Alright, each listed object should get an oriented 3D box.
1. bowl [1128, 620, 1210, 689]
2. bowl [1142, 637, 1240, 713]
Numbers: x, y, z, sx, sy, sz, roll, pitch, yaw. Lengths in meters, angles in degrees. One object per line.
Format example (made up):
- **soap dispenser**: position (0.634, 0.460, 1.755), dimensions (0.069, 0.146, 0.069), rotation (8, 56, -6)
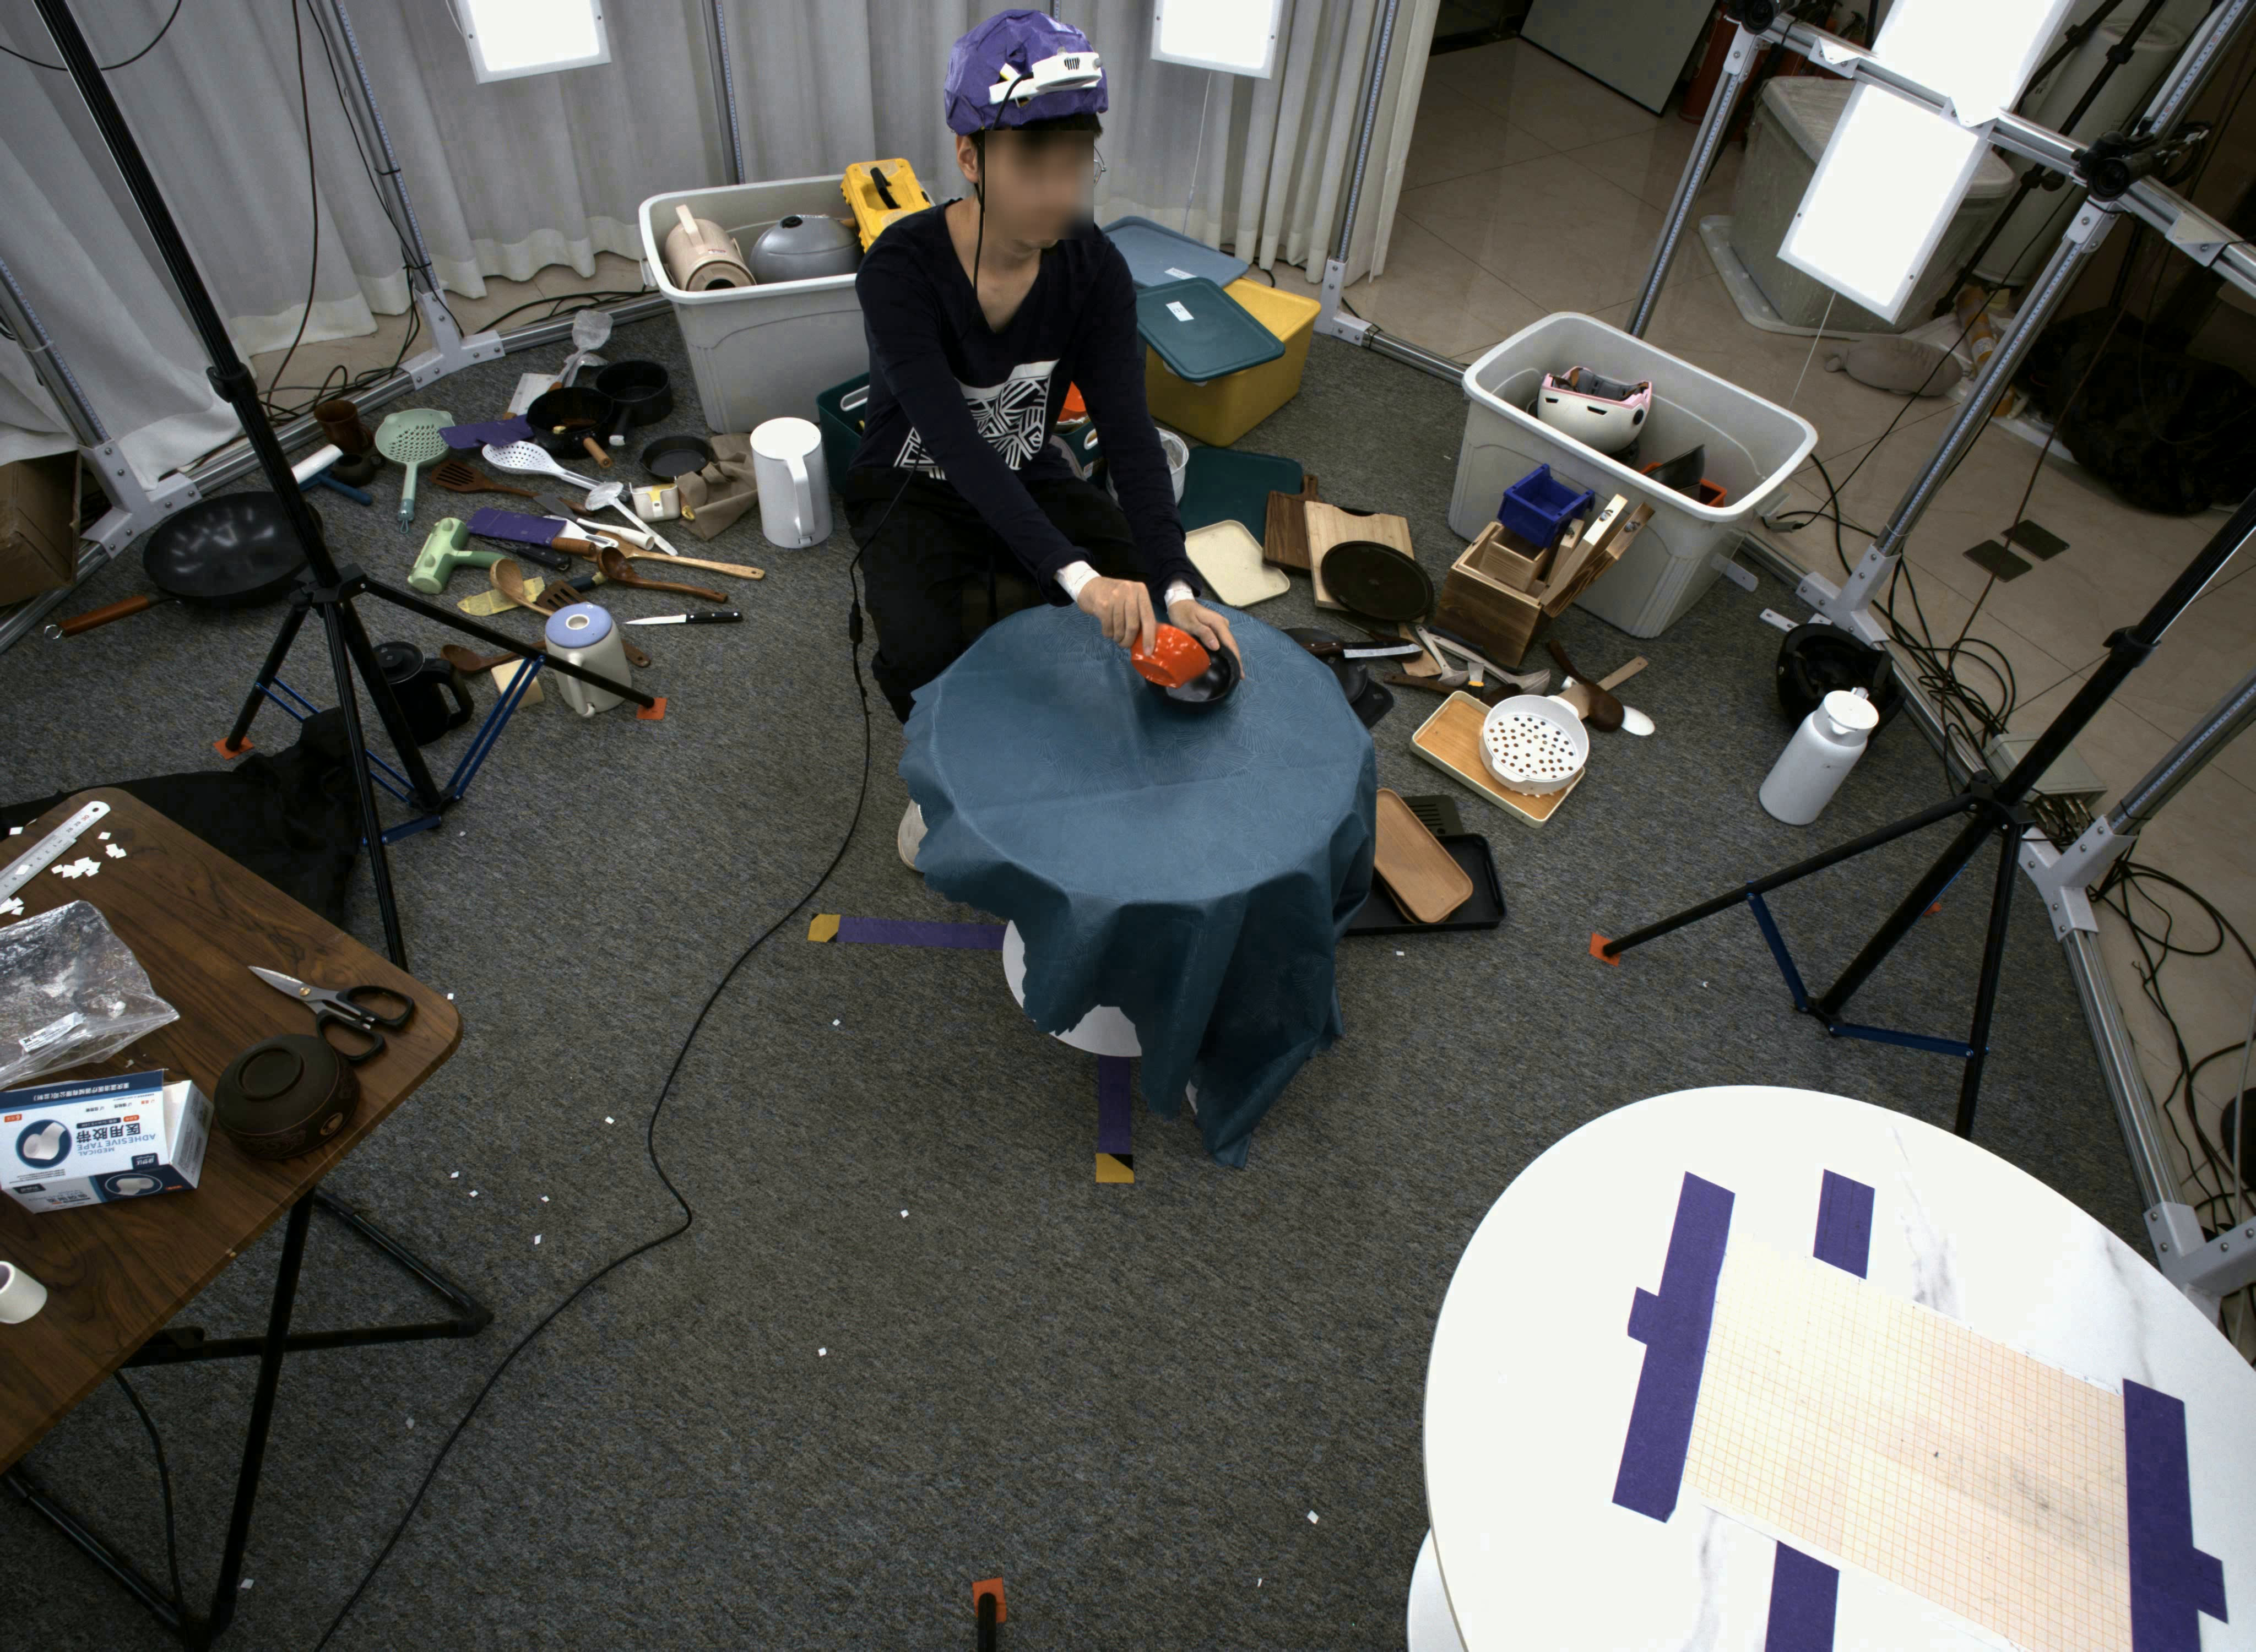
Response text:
- **bowl**: position (0.046, -0.223, 1.711), dimensions (0.120, 0.117, 0.051), rotation (25, 82, 16)
- **bowl**: position (0.088, -0.206, 1.824), dimensions (0.140, 0.048, 0.143), rotation (1, 46, -1)
